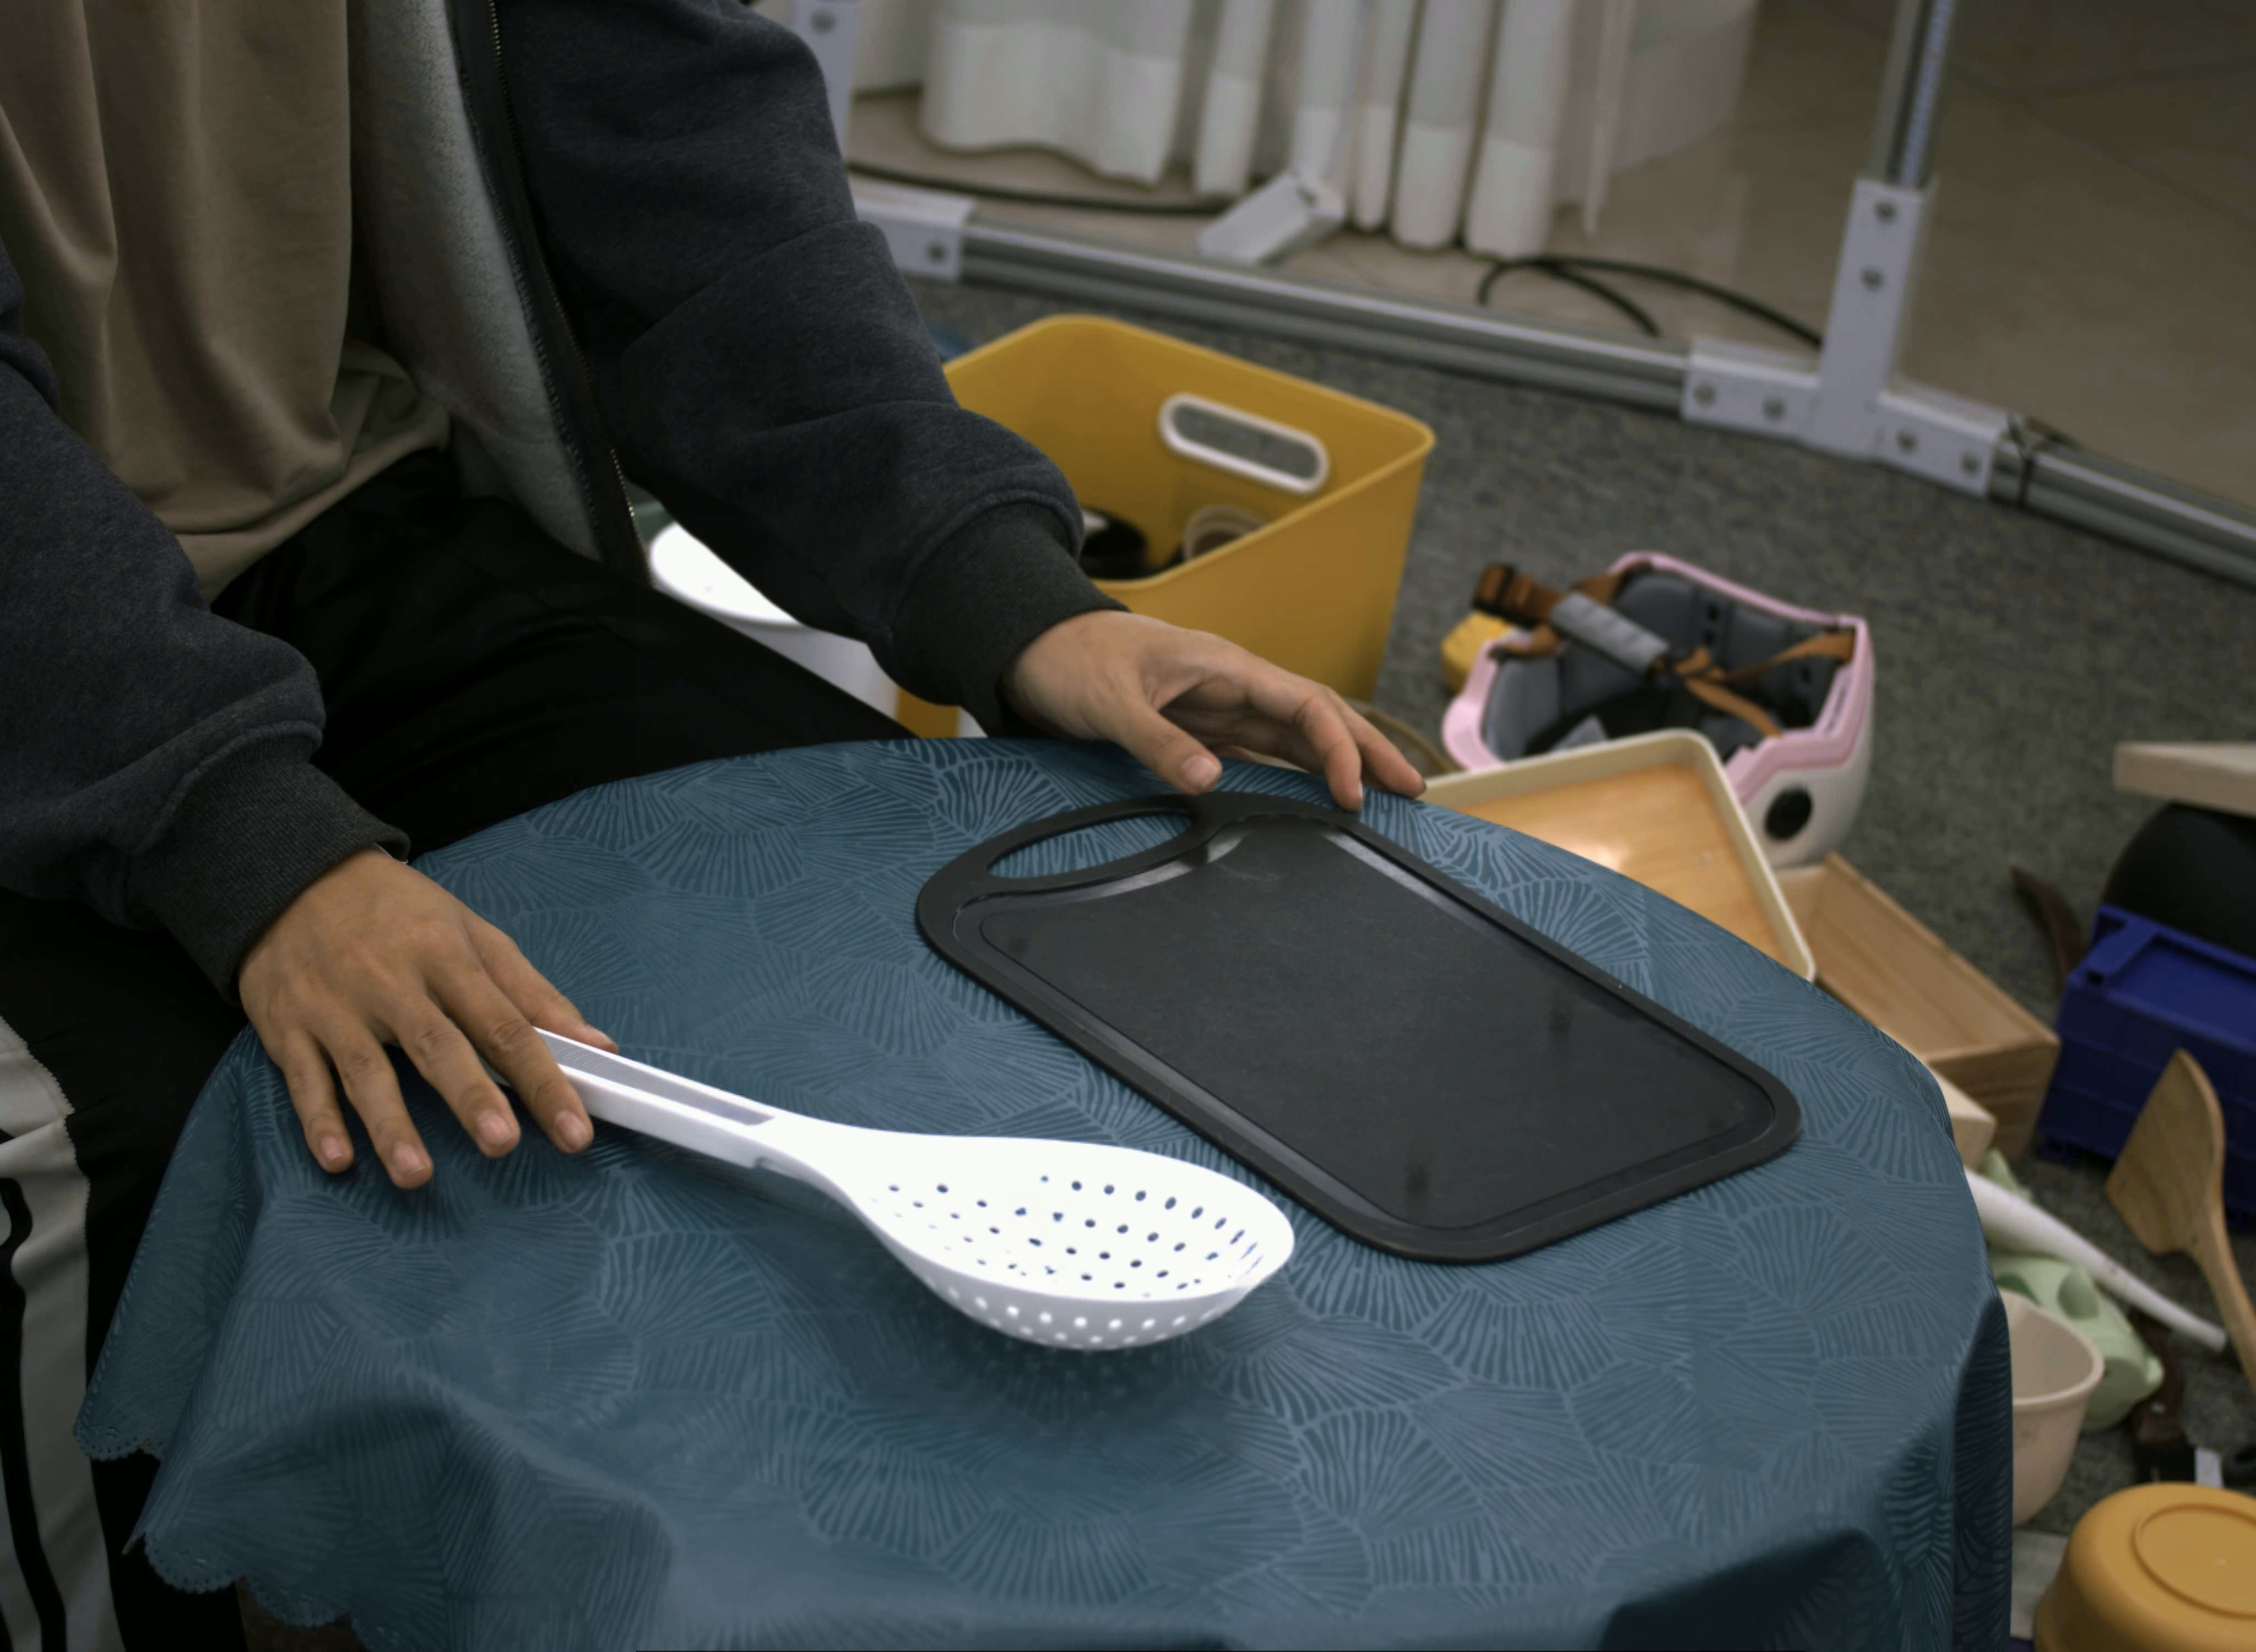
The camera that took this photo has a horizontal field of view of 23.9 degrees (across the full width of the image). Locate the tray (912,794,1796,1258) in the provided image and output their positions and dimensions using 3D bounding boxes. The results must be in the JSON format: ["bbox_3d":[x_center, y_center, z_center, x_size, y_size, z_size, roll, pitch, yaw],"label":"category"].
[{"bbox_3d":[0.073,0.063,1.930,0.210,0.010,0.328,-16,34,-37],"label":"tray"}]

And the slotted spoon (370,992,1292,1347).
[{"bbox_3d":[-0.108,0.107,1.758,0.351,0.045,0.135,20,19,27],"label":"slotted spoon"}]
